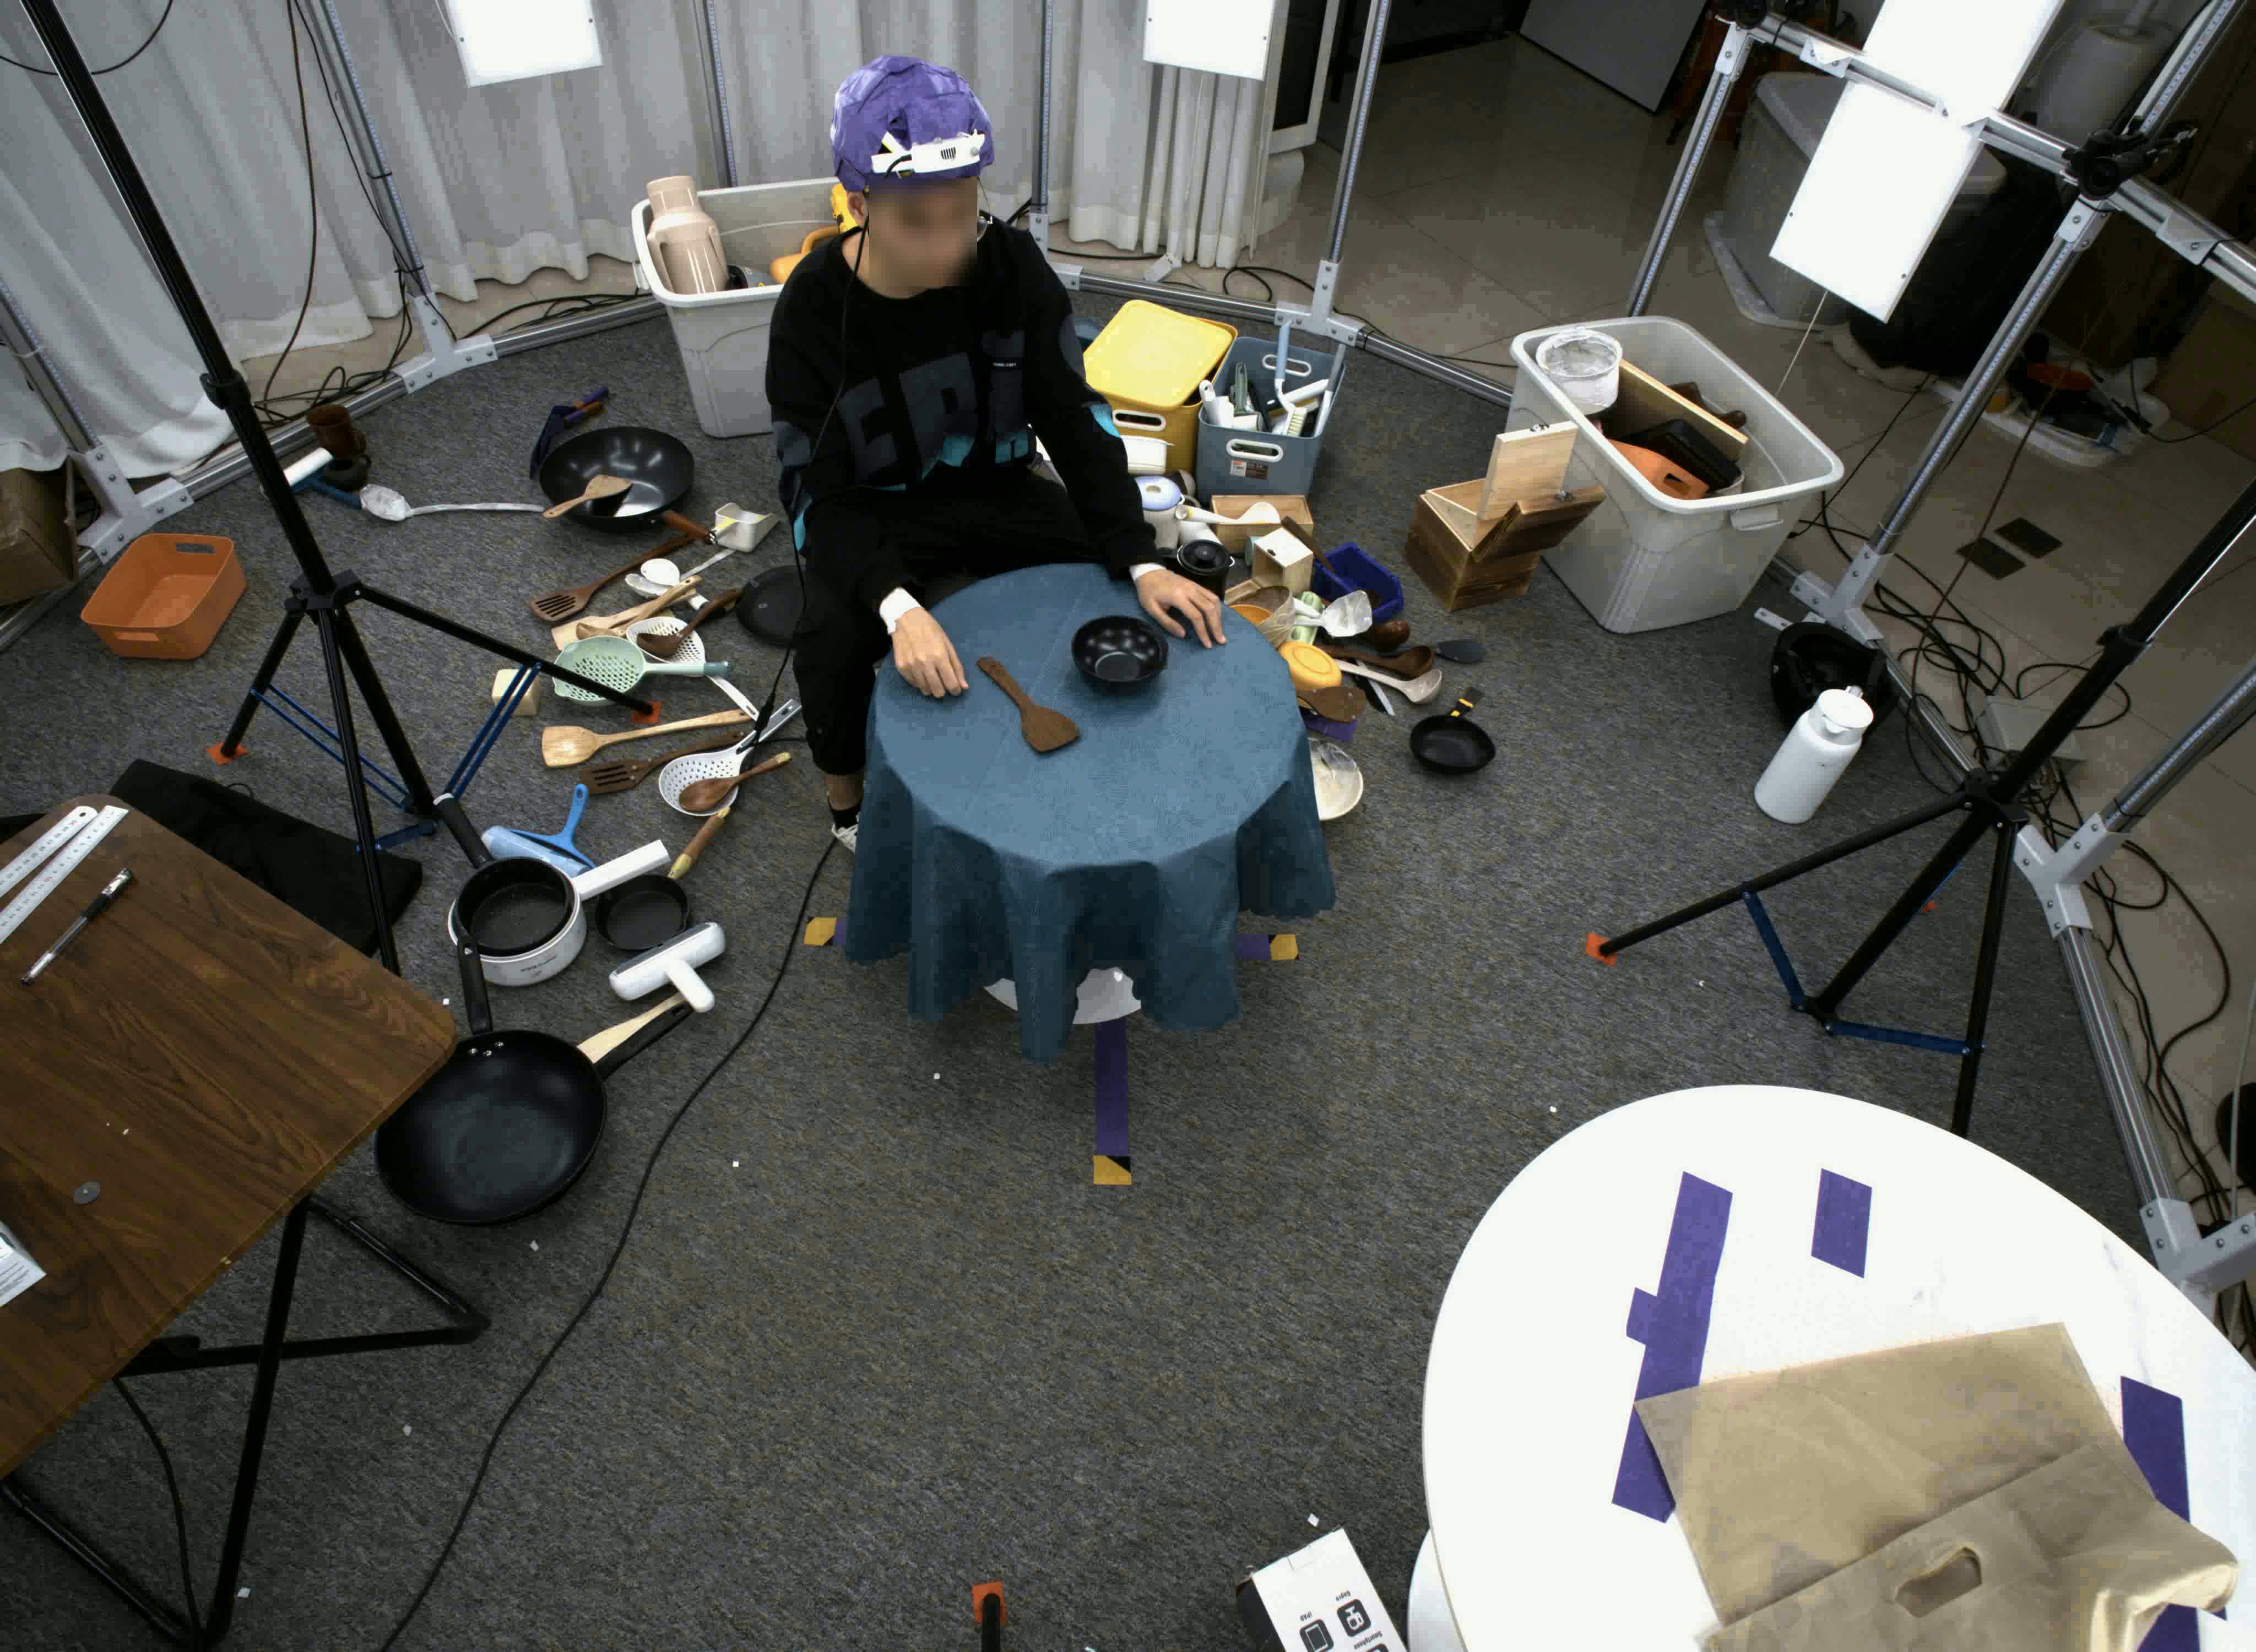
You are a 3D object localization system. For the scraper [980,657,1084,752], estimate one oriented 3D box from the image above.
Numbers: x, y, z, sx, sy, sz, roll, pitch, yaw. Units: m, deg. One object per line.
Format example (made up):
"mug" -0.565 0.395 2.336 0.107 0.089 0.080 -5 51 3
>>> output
"scraper" -0.147 -0.176 1.823 0.076 0.010 0.215 -25 54 -25

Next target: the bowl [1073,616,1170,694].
"bowl" -0.010 -0.239 1.860 0.140 0.048 0.143 1 51 -1
